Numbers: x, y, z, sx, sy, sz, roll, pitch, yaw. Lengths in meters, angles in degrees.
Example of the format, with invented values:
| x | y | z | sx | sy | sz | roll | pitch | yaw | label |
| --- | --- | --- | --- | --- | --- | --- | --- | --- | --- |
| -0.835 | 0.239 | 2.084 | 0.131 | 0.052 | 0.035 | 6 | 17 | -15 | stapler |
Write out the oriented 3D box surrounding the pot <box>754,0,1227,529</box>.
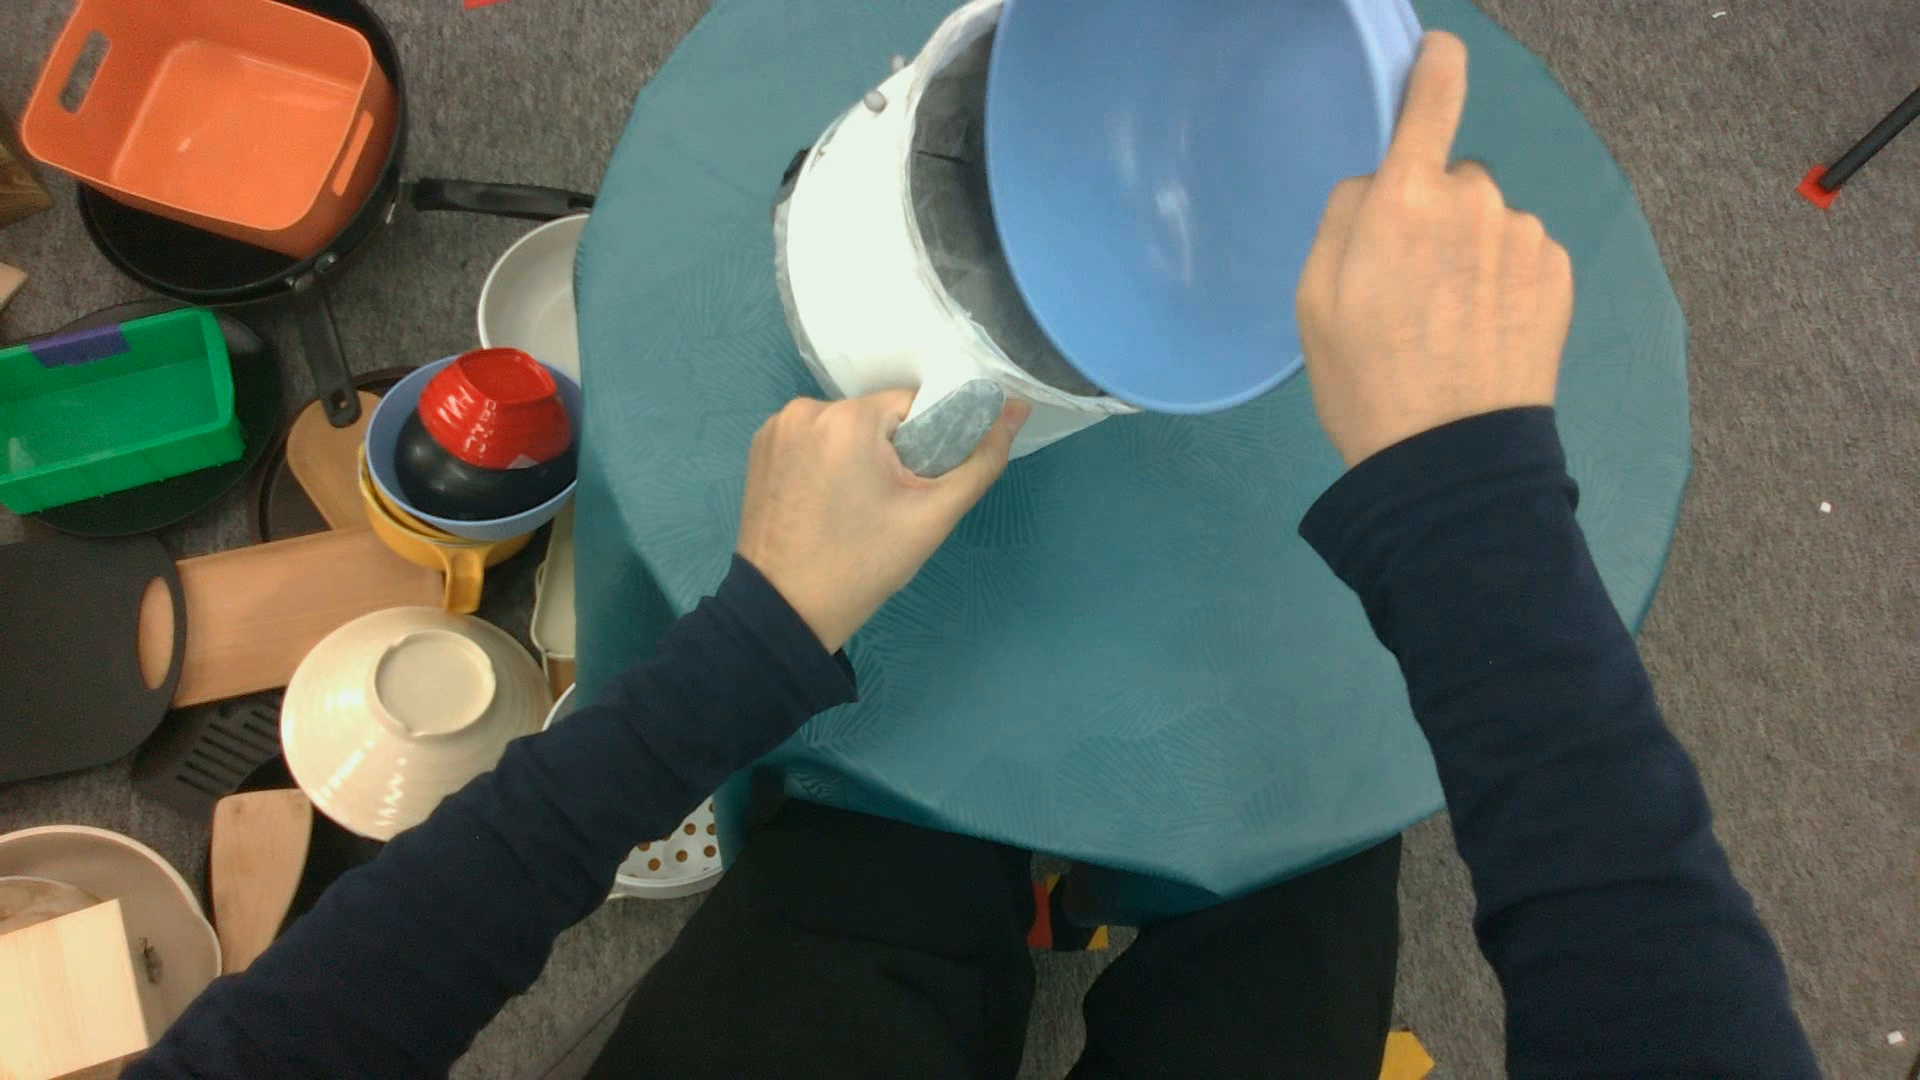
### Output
| x | y | z | sx | sy | sz | roll | pitch | yaw | label |
| --- | --- | --- | --- | --- | --- | --- | --- | --- | --- |
| 0.000 | -0.112 | 0.604 | 0.178 | 0.136 | 0.234 | 34 | 63 | -22 | pot |

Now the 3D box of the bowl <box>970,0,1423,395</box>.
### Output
| x | y | z | sx | sy | sz | roll | pitch | yaw | label |
| --- | --- | --- | --- | --- | --- | --- | --- | --- | --- |
| 0.104 | -0.163 | 0.544 | 0.096 | 0.195 | 0.197 | -20 | 71 | -37 | bowl |
